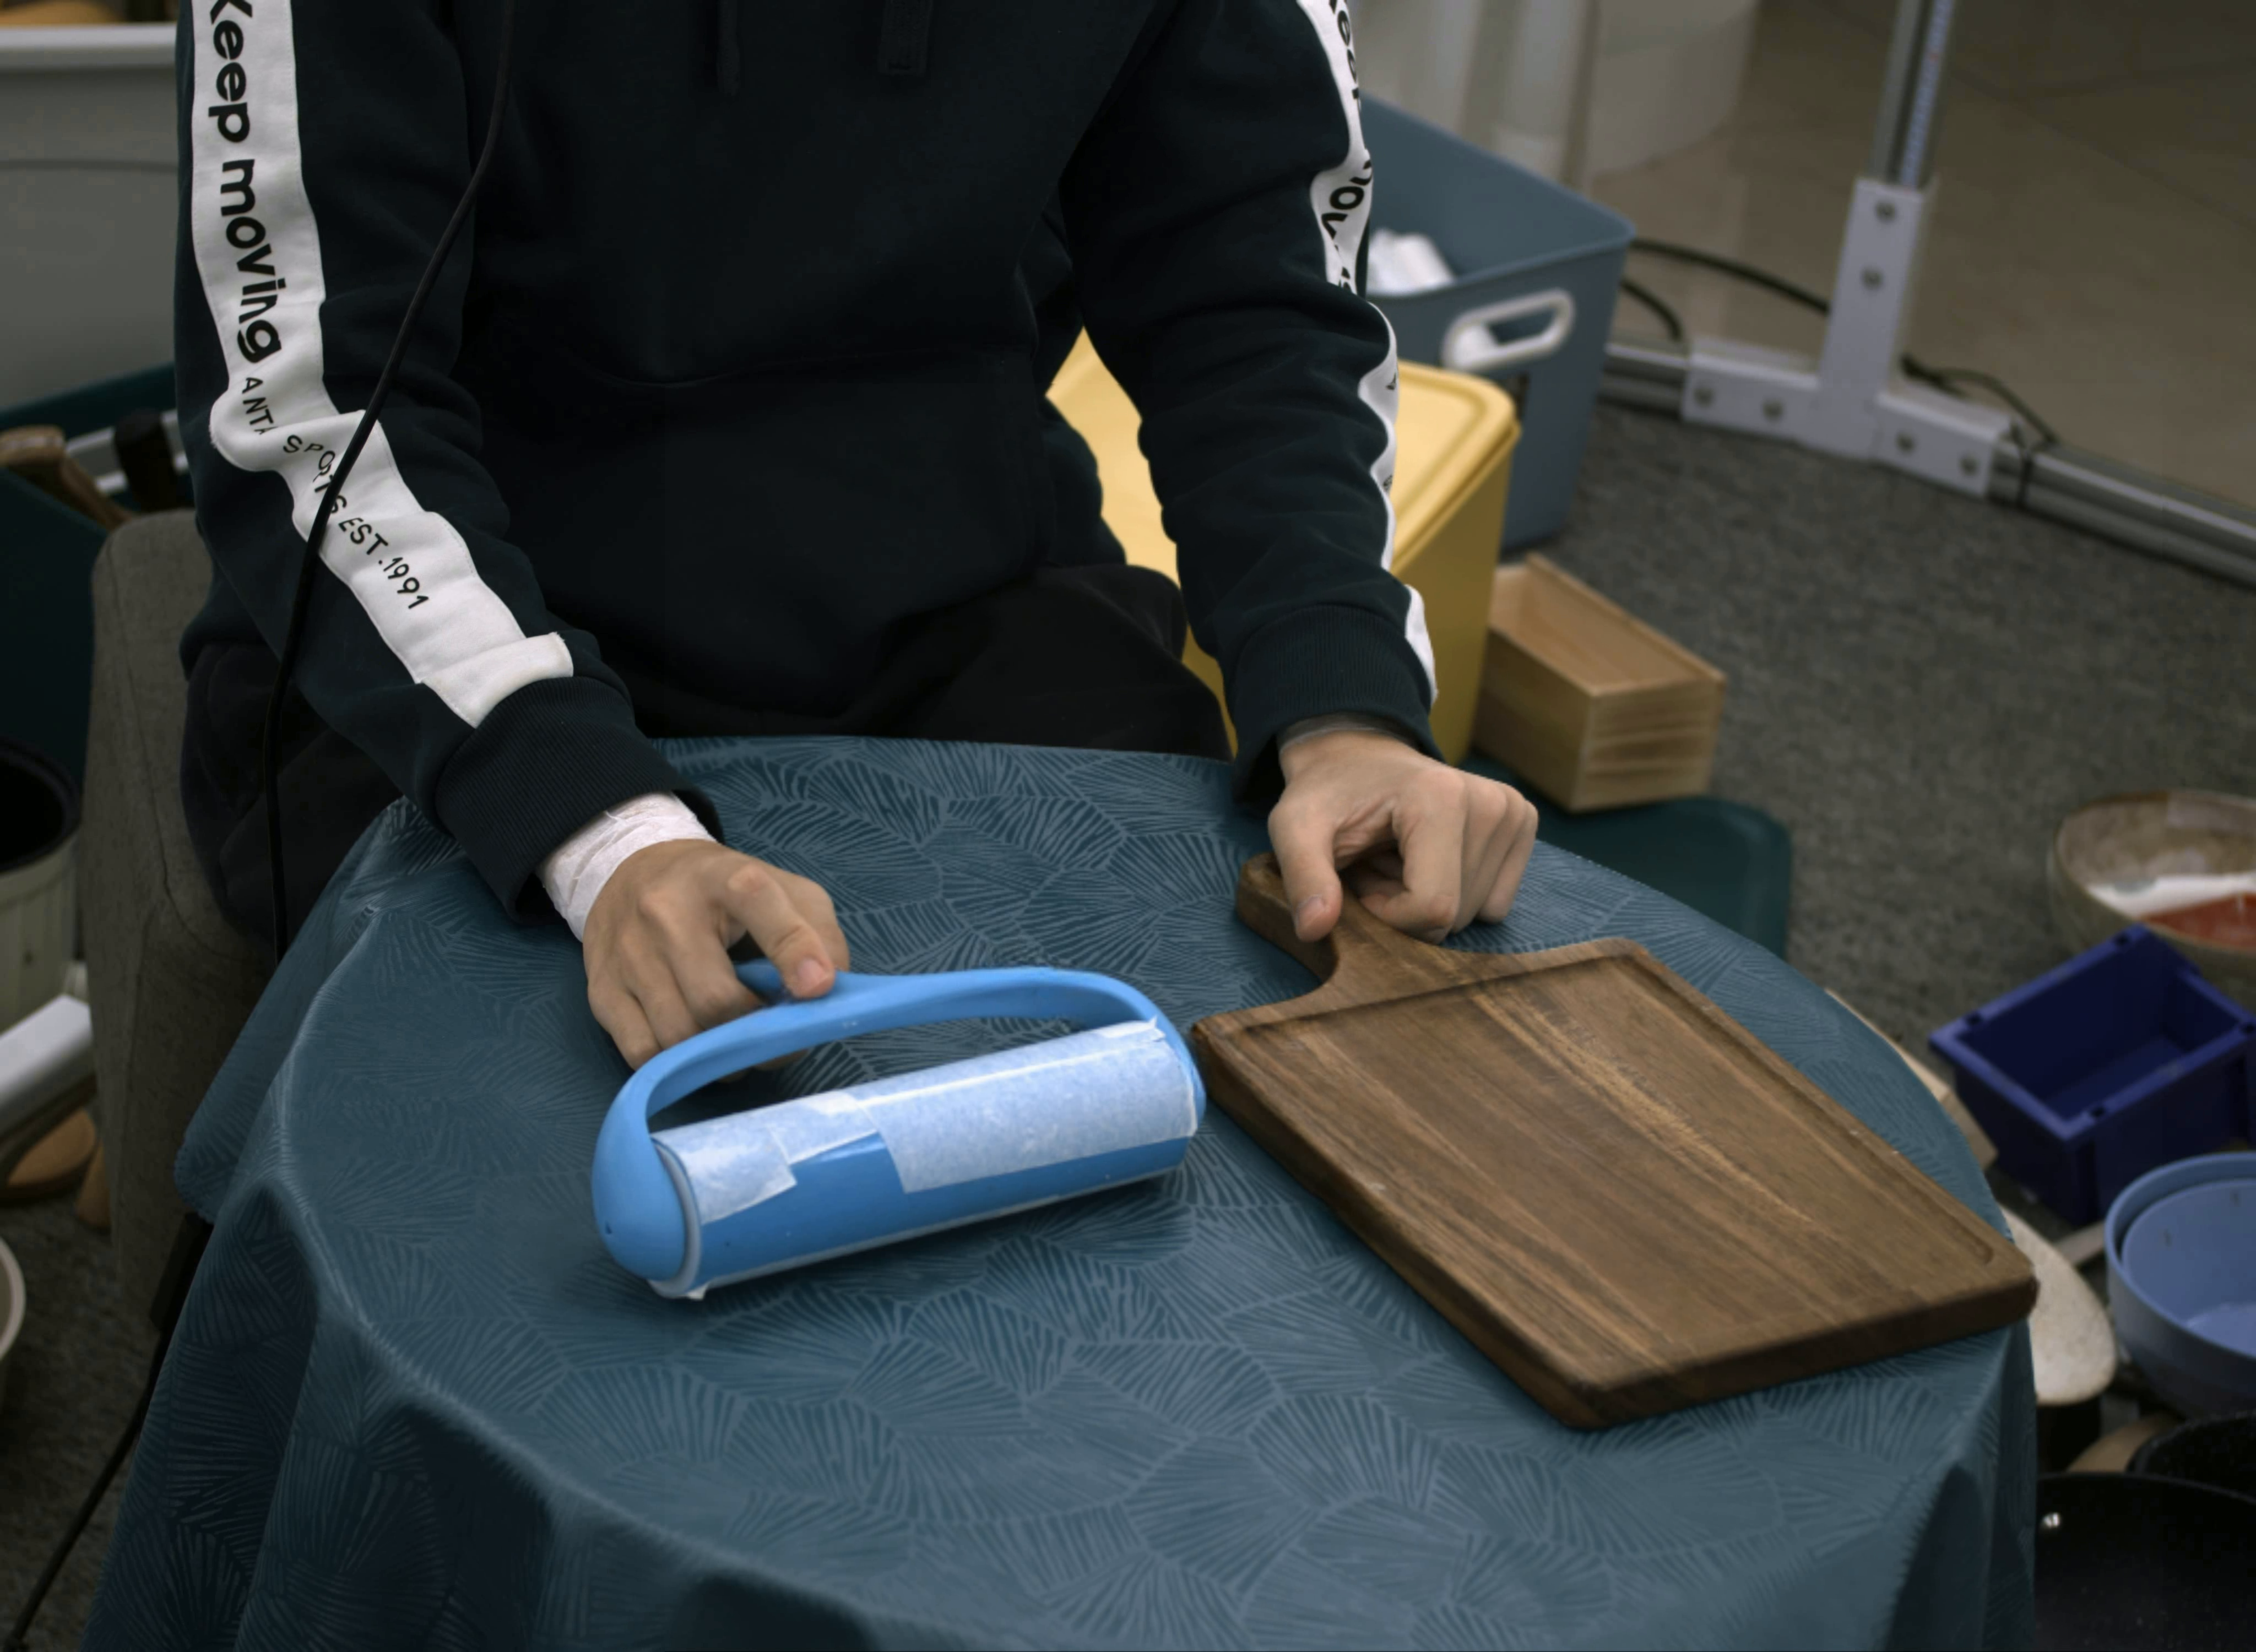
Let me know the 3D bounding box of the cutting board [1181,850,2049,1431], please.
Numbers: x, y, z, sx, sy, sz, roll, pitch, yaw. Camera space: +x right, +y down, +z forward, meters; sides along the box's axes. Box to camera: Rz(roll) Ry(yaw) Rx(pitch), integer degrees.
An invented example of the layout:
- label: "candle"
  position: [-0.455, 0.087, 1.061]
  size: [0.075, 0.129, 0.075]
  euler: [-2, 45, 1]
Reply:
- label: "cutting board"
  position: [0.138, 0.095, 1.861]
  size: [0.200, 0.023, 0.355]
  euler: [-9, 31, -30]

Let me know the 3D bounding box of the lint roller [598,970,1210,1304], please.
- label: "lint roller"
  position: [-0.105, 0.083, 1.793]
  size: [0.227, 0.067, 0.182]
  euler: [-15, 34, -33]
